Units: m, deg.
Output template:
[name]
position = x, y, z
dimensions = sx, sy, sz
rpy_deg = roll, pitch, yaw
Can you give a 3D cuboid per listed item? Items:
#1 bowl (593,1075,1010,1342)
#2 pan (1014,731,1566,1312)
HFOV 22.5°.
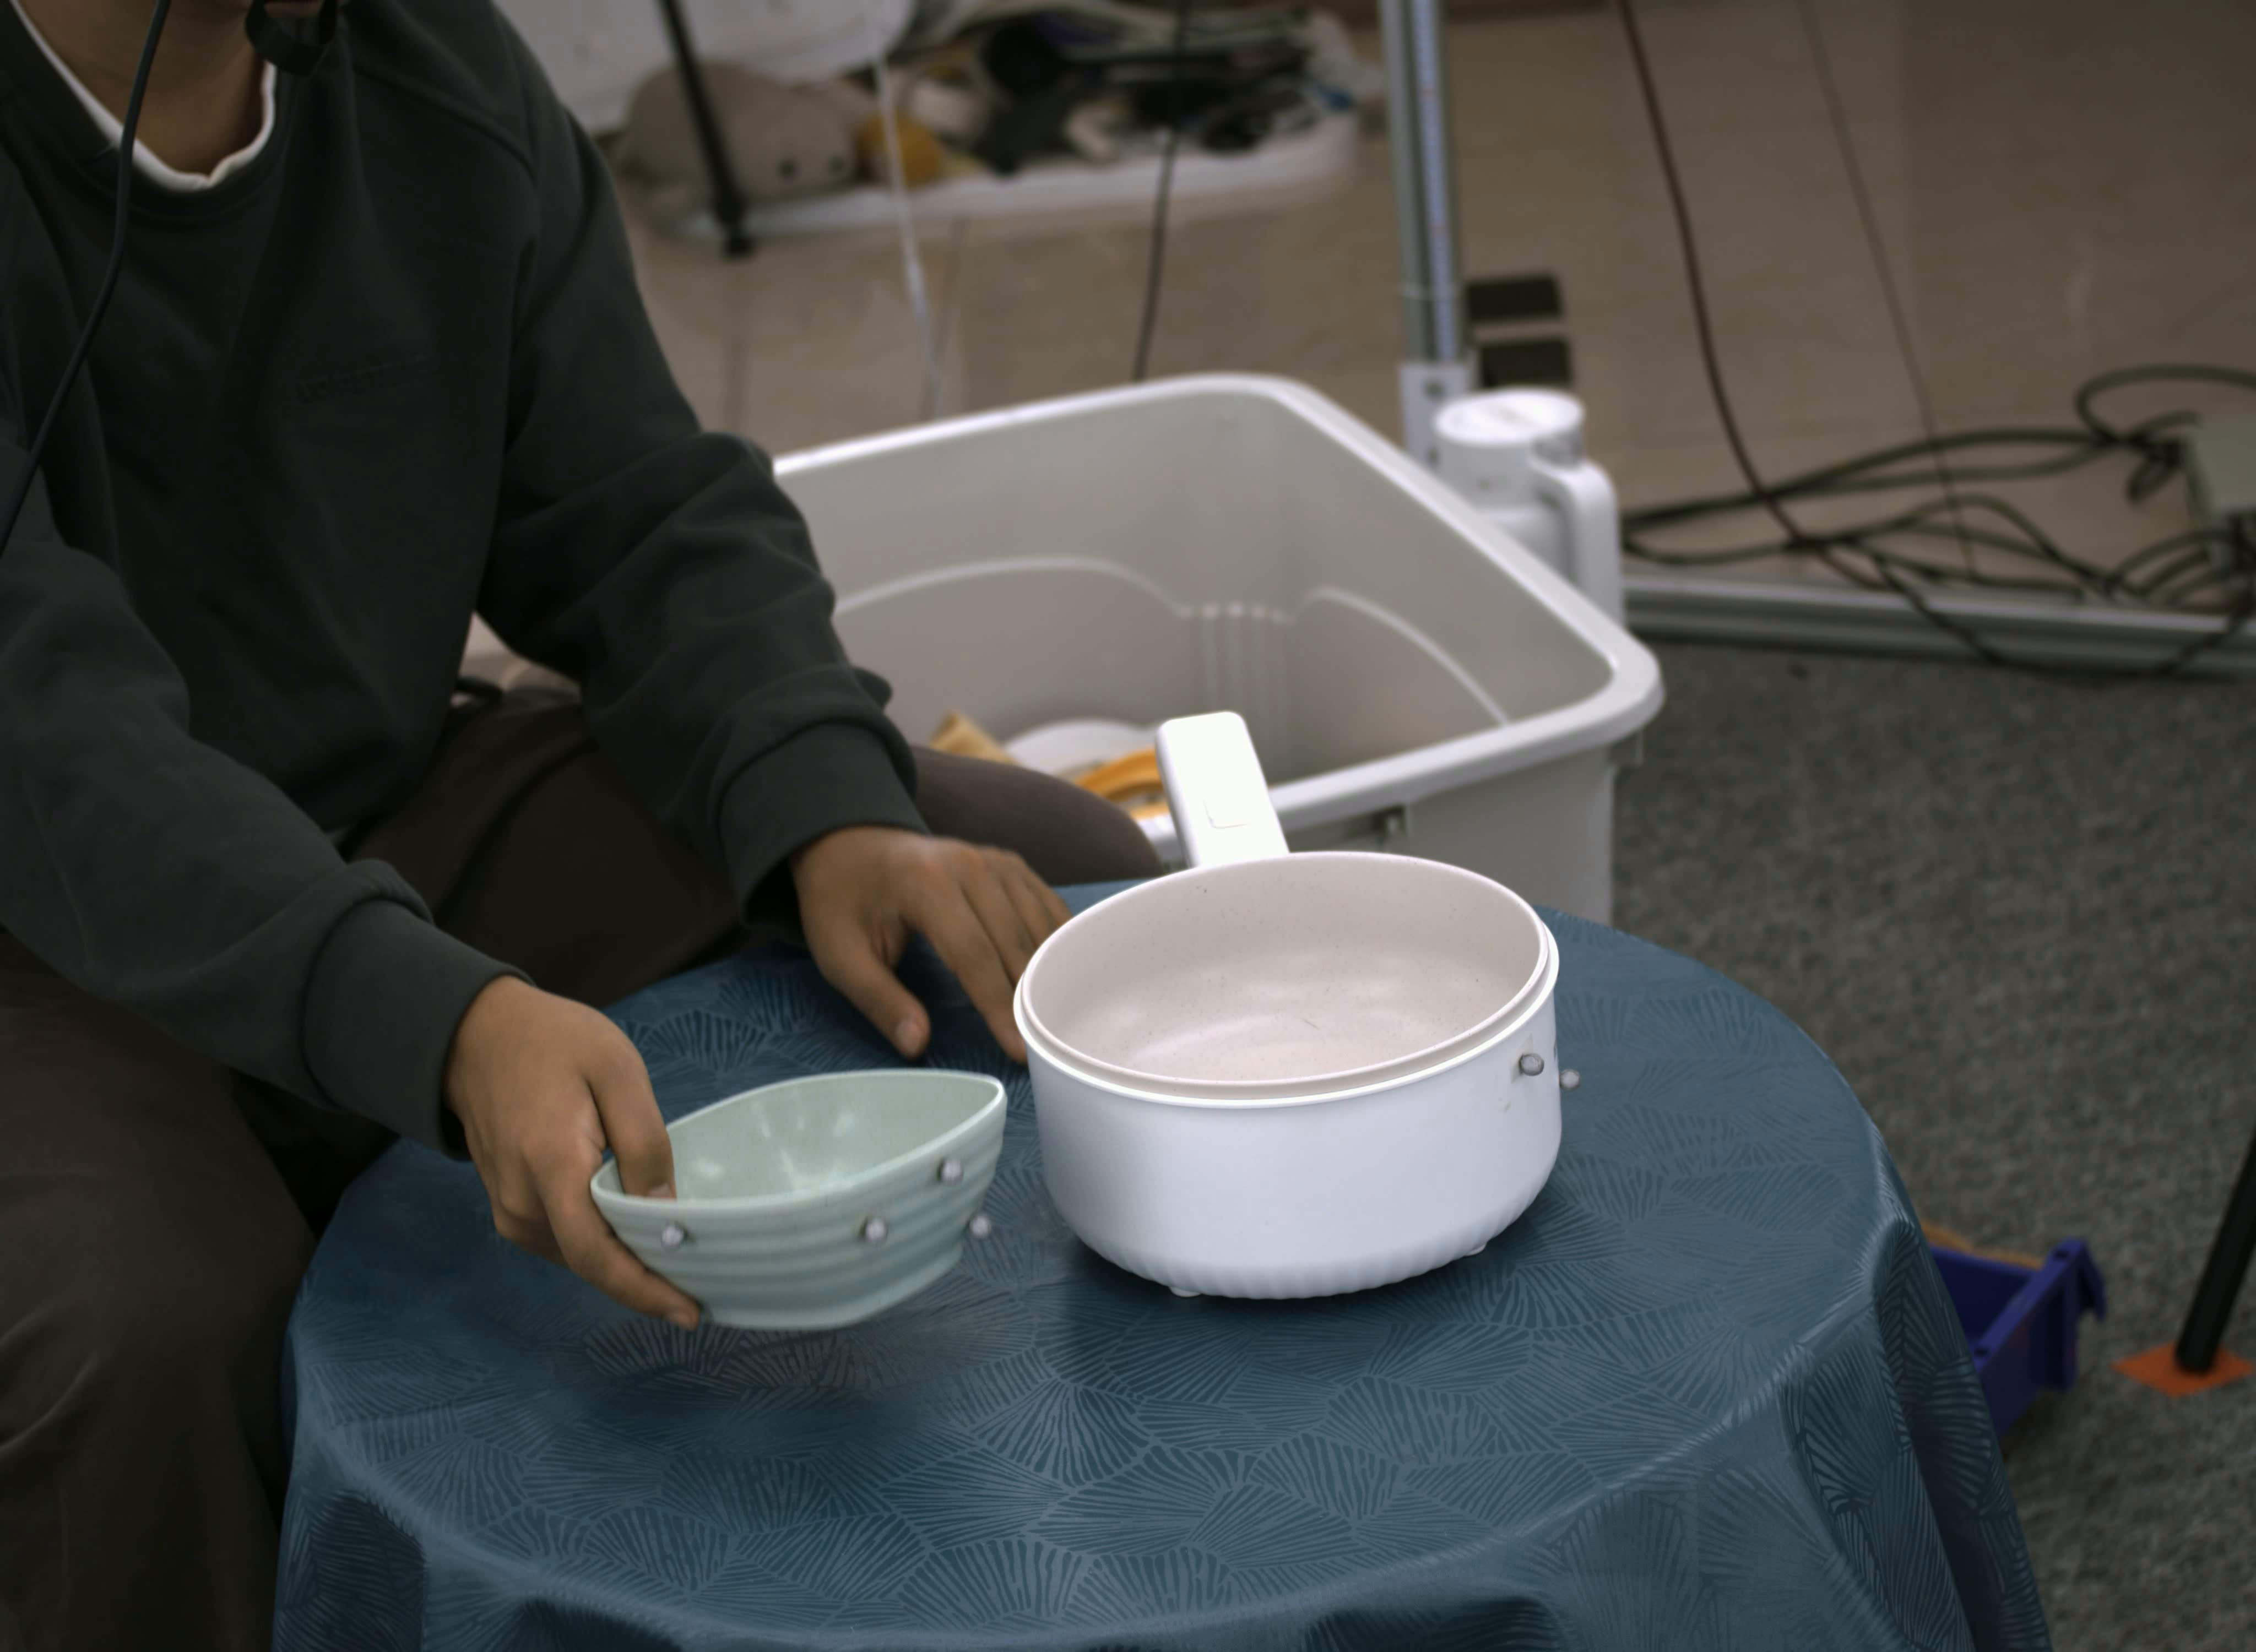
[bowl]
position = -0.112, 0.141, 2.025
dimensions = 0.151, 0.059, 0.150
rpy_deg = -10, 16, 3
[pan]
position = 0.054, 0.072, 2.175
dimensions = 0.201, 0.103, 0.350
rpy_deg = -11, 23, -3
